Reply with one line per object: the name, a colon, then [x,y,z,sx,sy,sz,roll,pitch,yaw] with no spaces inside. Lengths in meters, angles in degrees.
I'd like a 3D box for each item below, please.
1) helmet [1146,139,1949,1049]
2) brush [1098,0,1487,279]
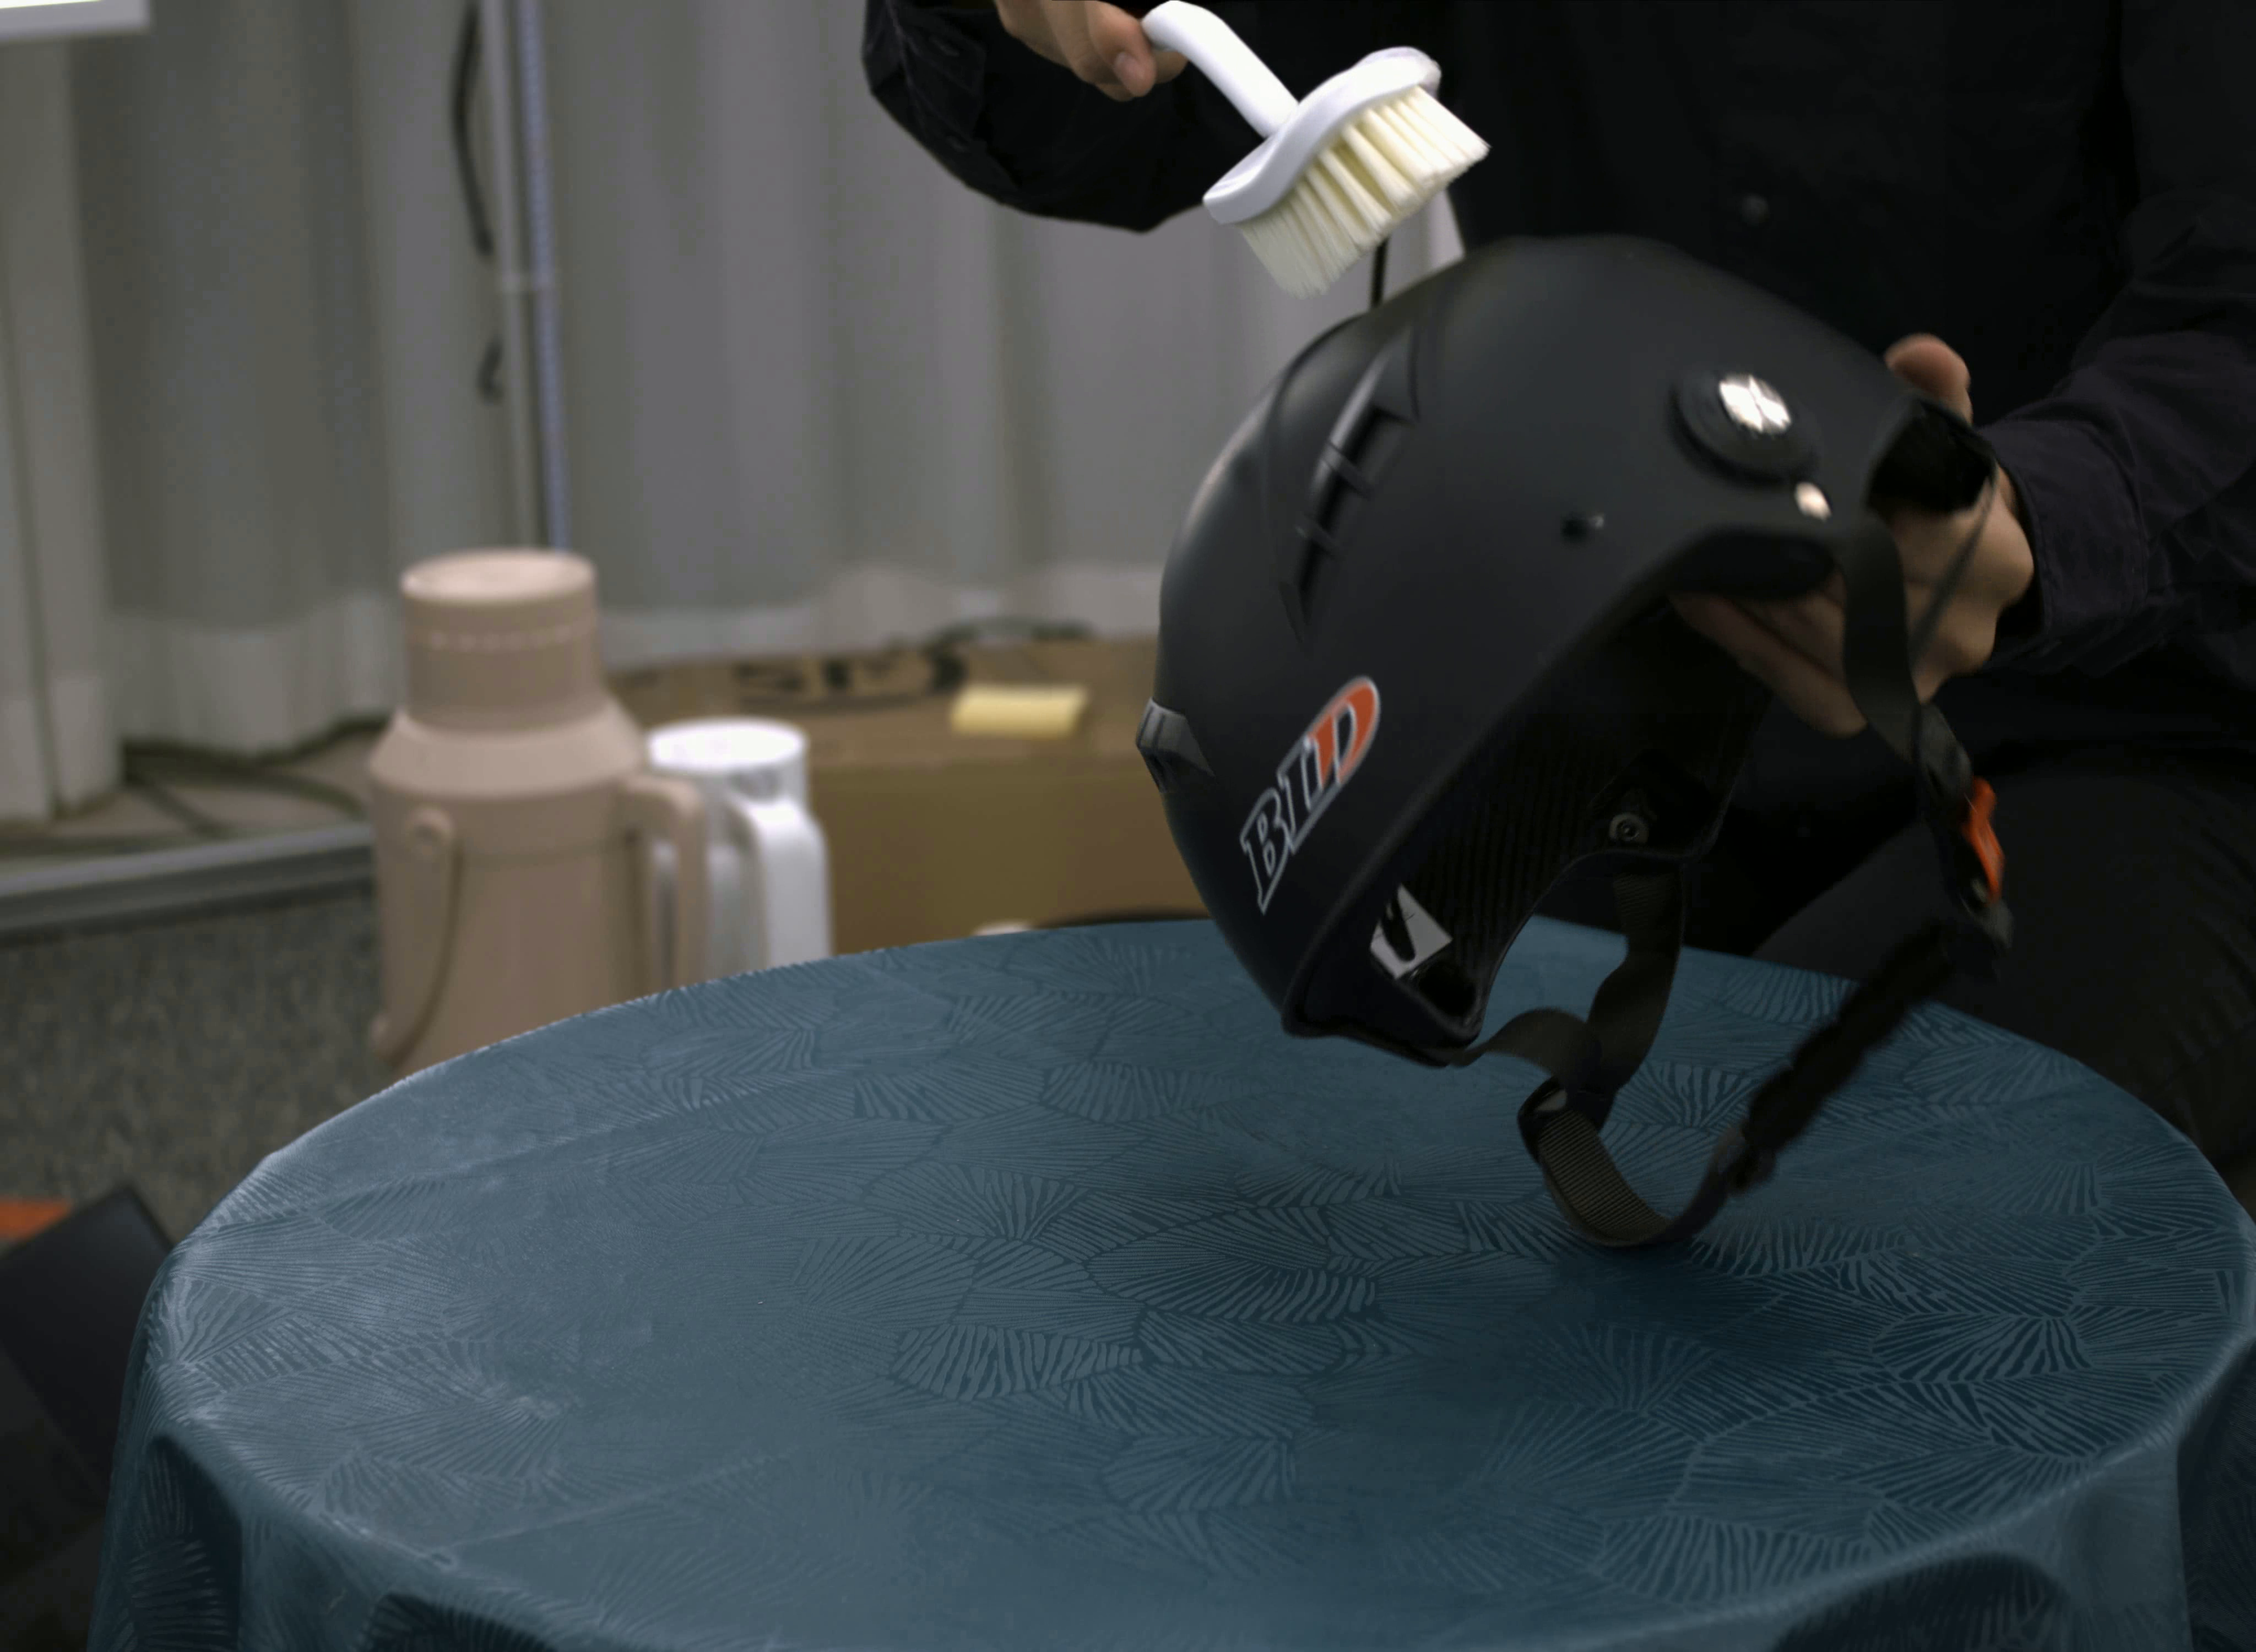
helmet: [0.101,-0.073,1.456,0.174,0.248,0.272,42,38,15]
brush: [0.046,-0.216,1.589,0.082,0.084,0.329,-7,17,-11]
